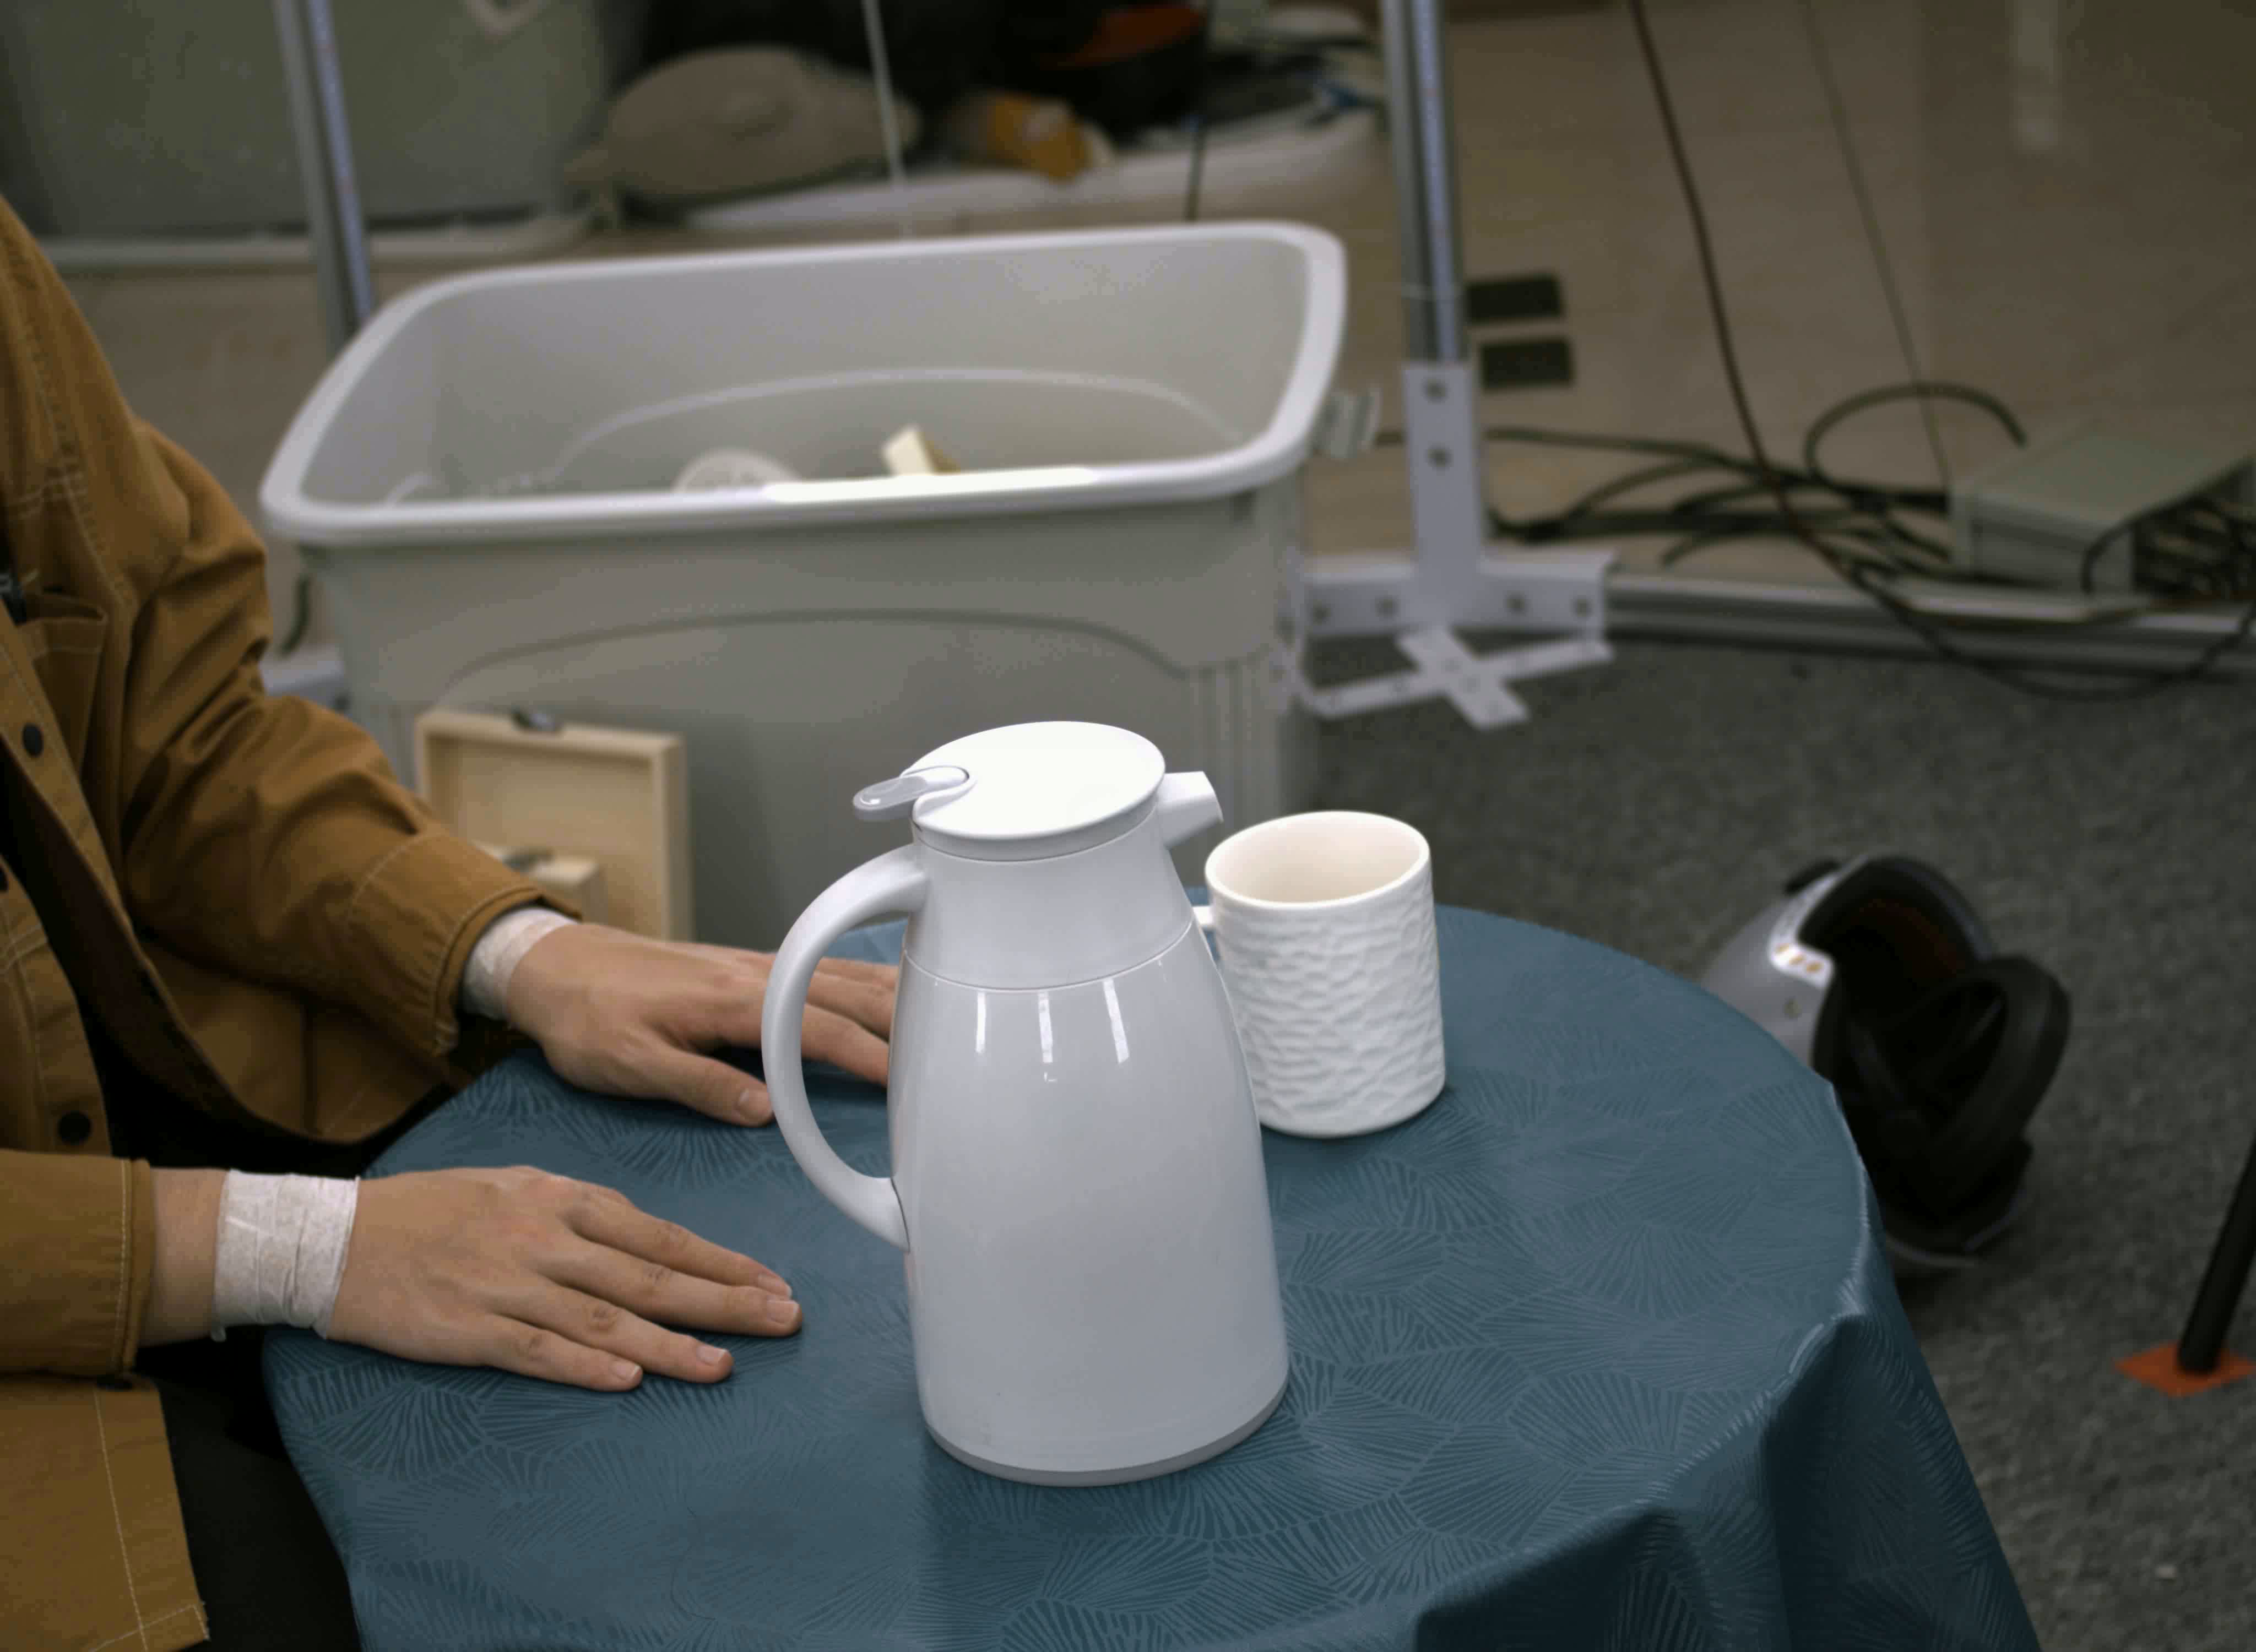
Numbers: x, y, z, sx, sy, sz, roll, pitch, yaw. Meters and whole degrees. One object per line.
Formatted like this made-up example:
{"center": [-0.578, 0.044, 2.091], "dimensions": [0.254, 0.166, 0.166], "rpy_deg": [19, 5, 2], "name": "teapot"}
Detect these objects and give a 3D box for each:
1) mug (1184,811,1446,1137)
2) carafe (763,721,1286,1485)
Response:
{"center": [0.062, 0.060, 2.181], "dimensions": [0.118, 0.103, 0.084], "rpy_deg": [-8, 25, -2], "name": "mug"}
{"center": [-0.039, 0.093, 1.960], "dimensions": [0.167, 0.253, 0.130], "rpy_deg": [-11, 27, -9], "name": "carafe"}
